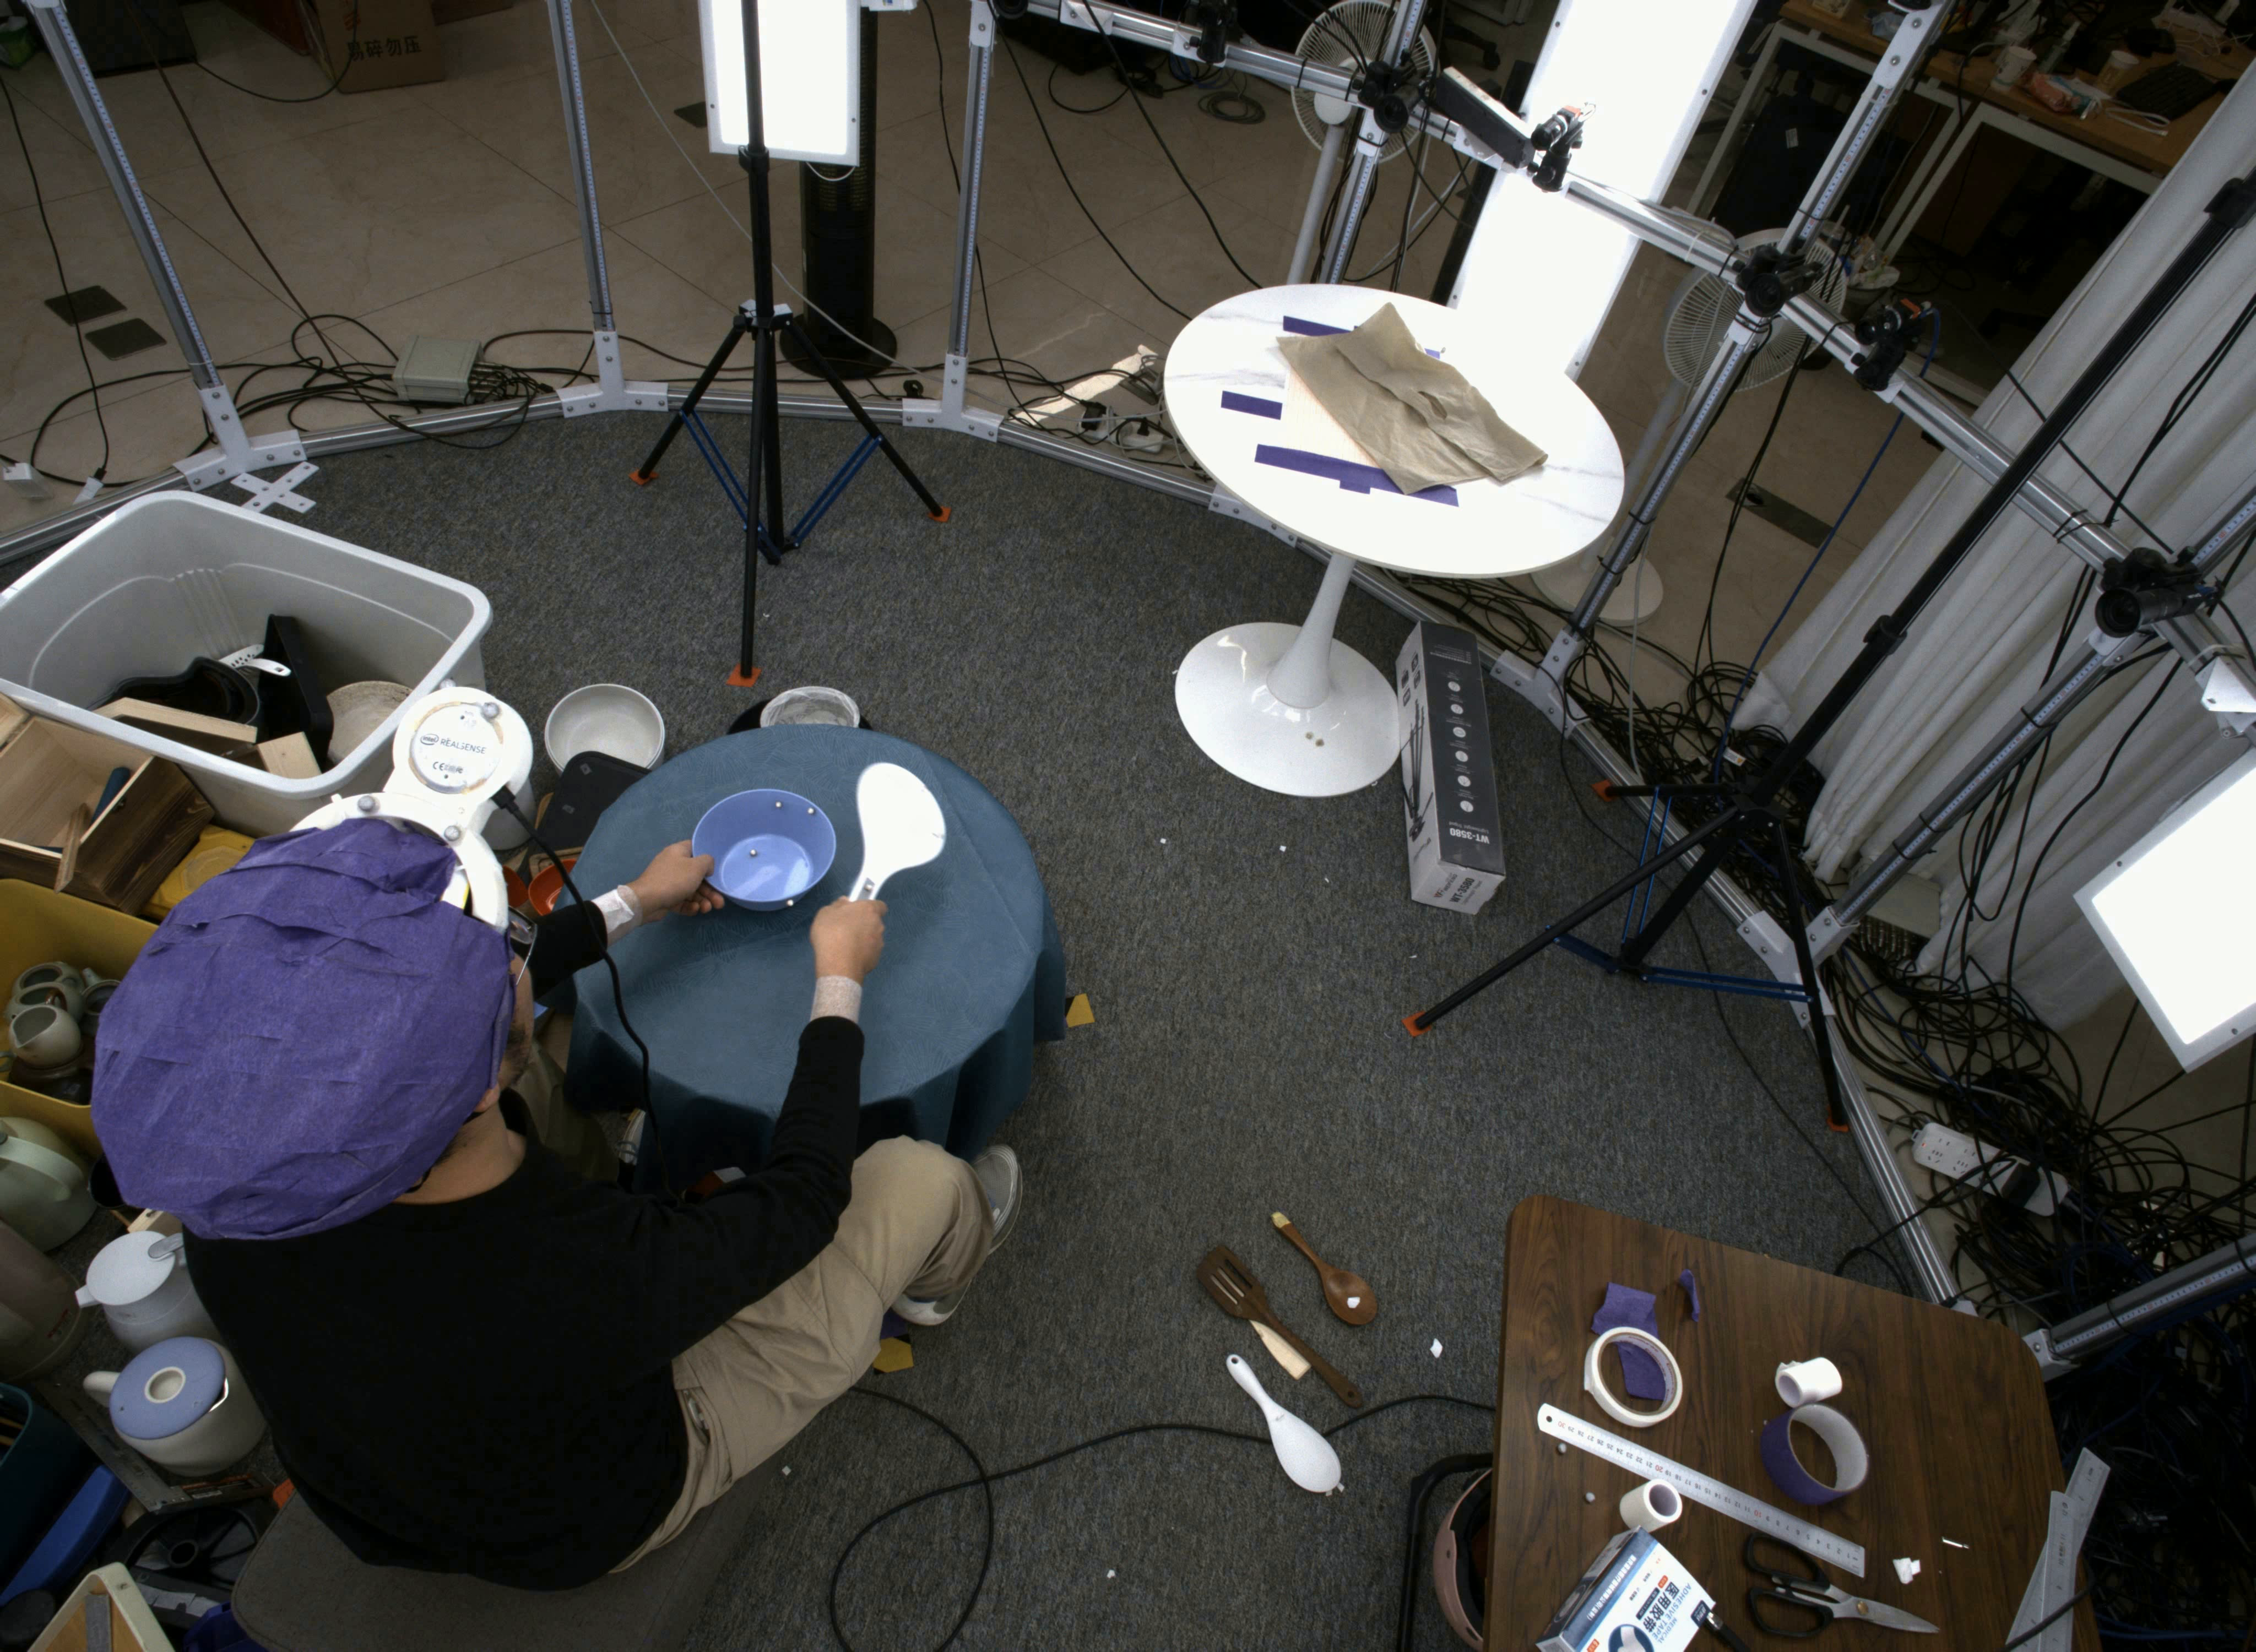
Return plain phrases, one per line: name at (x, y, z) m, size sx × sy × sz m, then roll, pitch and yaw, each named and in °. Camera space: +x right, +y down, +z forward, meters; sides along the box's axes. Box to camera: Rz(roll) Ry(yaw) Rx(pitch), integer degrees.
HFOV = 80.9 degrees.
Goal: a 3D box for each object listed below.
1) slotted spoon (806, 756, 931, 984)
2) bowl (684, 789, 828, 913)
slotted spoon at (-0.315, 0.049, 1.535) m, size 0.140 × 0.045 × 0.343 m, roll 45°, pitch 30°, yaw -28°
bowl at (-0.467, 0.041, 1.631) m, size 0.175 × 0.072 × 0.173 m, roll 7°, pitch 52°, yaw -8°
